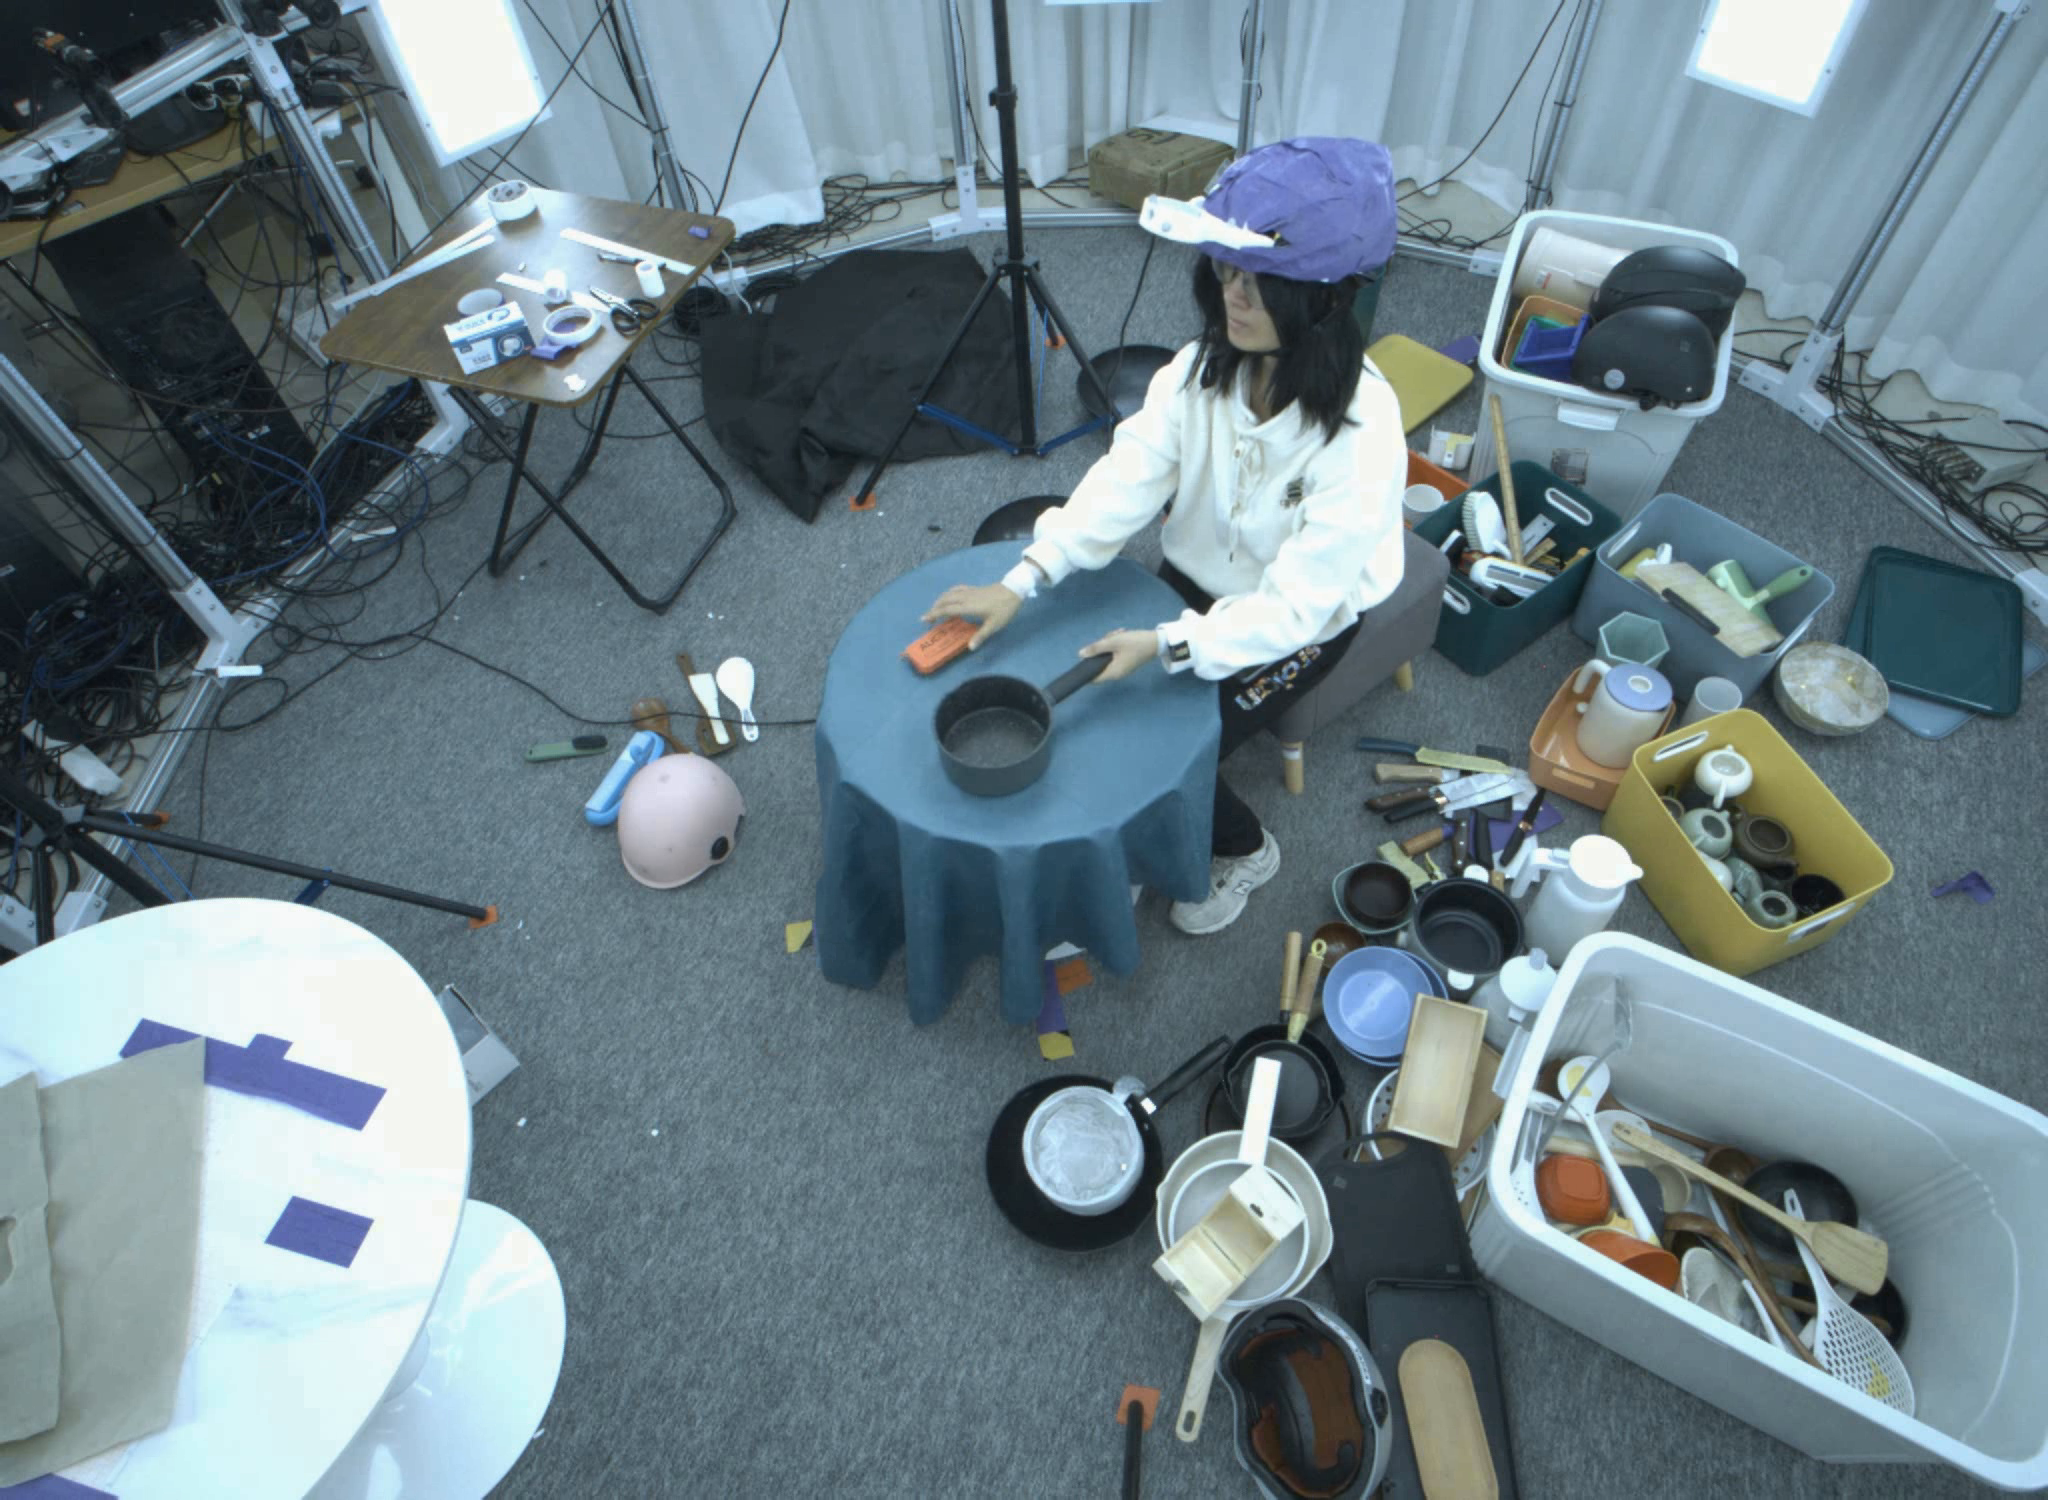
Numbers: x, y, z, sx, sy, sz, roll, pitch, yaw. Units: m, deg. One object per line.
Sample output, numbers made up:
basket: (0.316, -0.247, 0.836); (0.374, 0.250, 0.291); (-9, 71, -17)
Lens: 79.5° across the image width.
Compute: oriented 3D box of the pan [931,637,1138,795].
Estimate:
pan: (0.023, -0.059, 1.777); (0.331, 0.087, 0.169); (-29, 59, -17)

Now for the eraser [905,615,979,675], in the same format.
eraser: (-0.126, -0.163, 1.893); (0.109, 0.023, 0.058); (-37, 59, -22)
